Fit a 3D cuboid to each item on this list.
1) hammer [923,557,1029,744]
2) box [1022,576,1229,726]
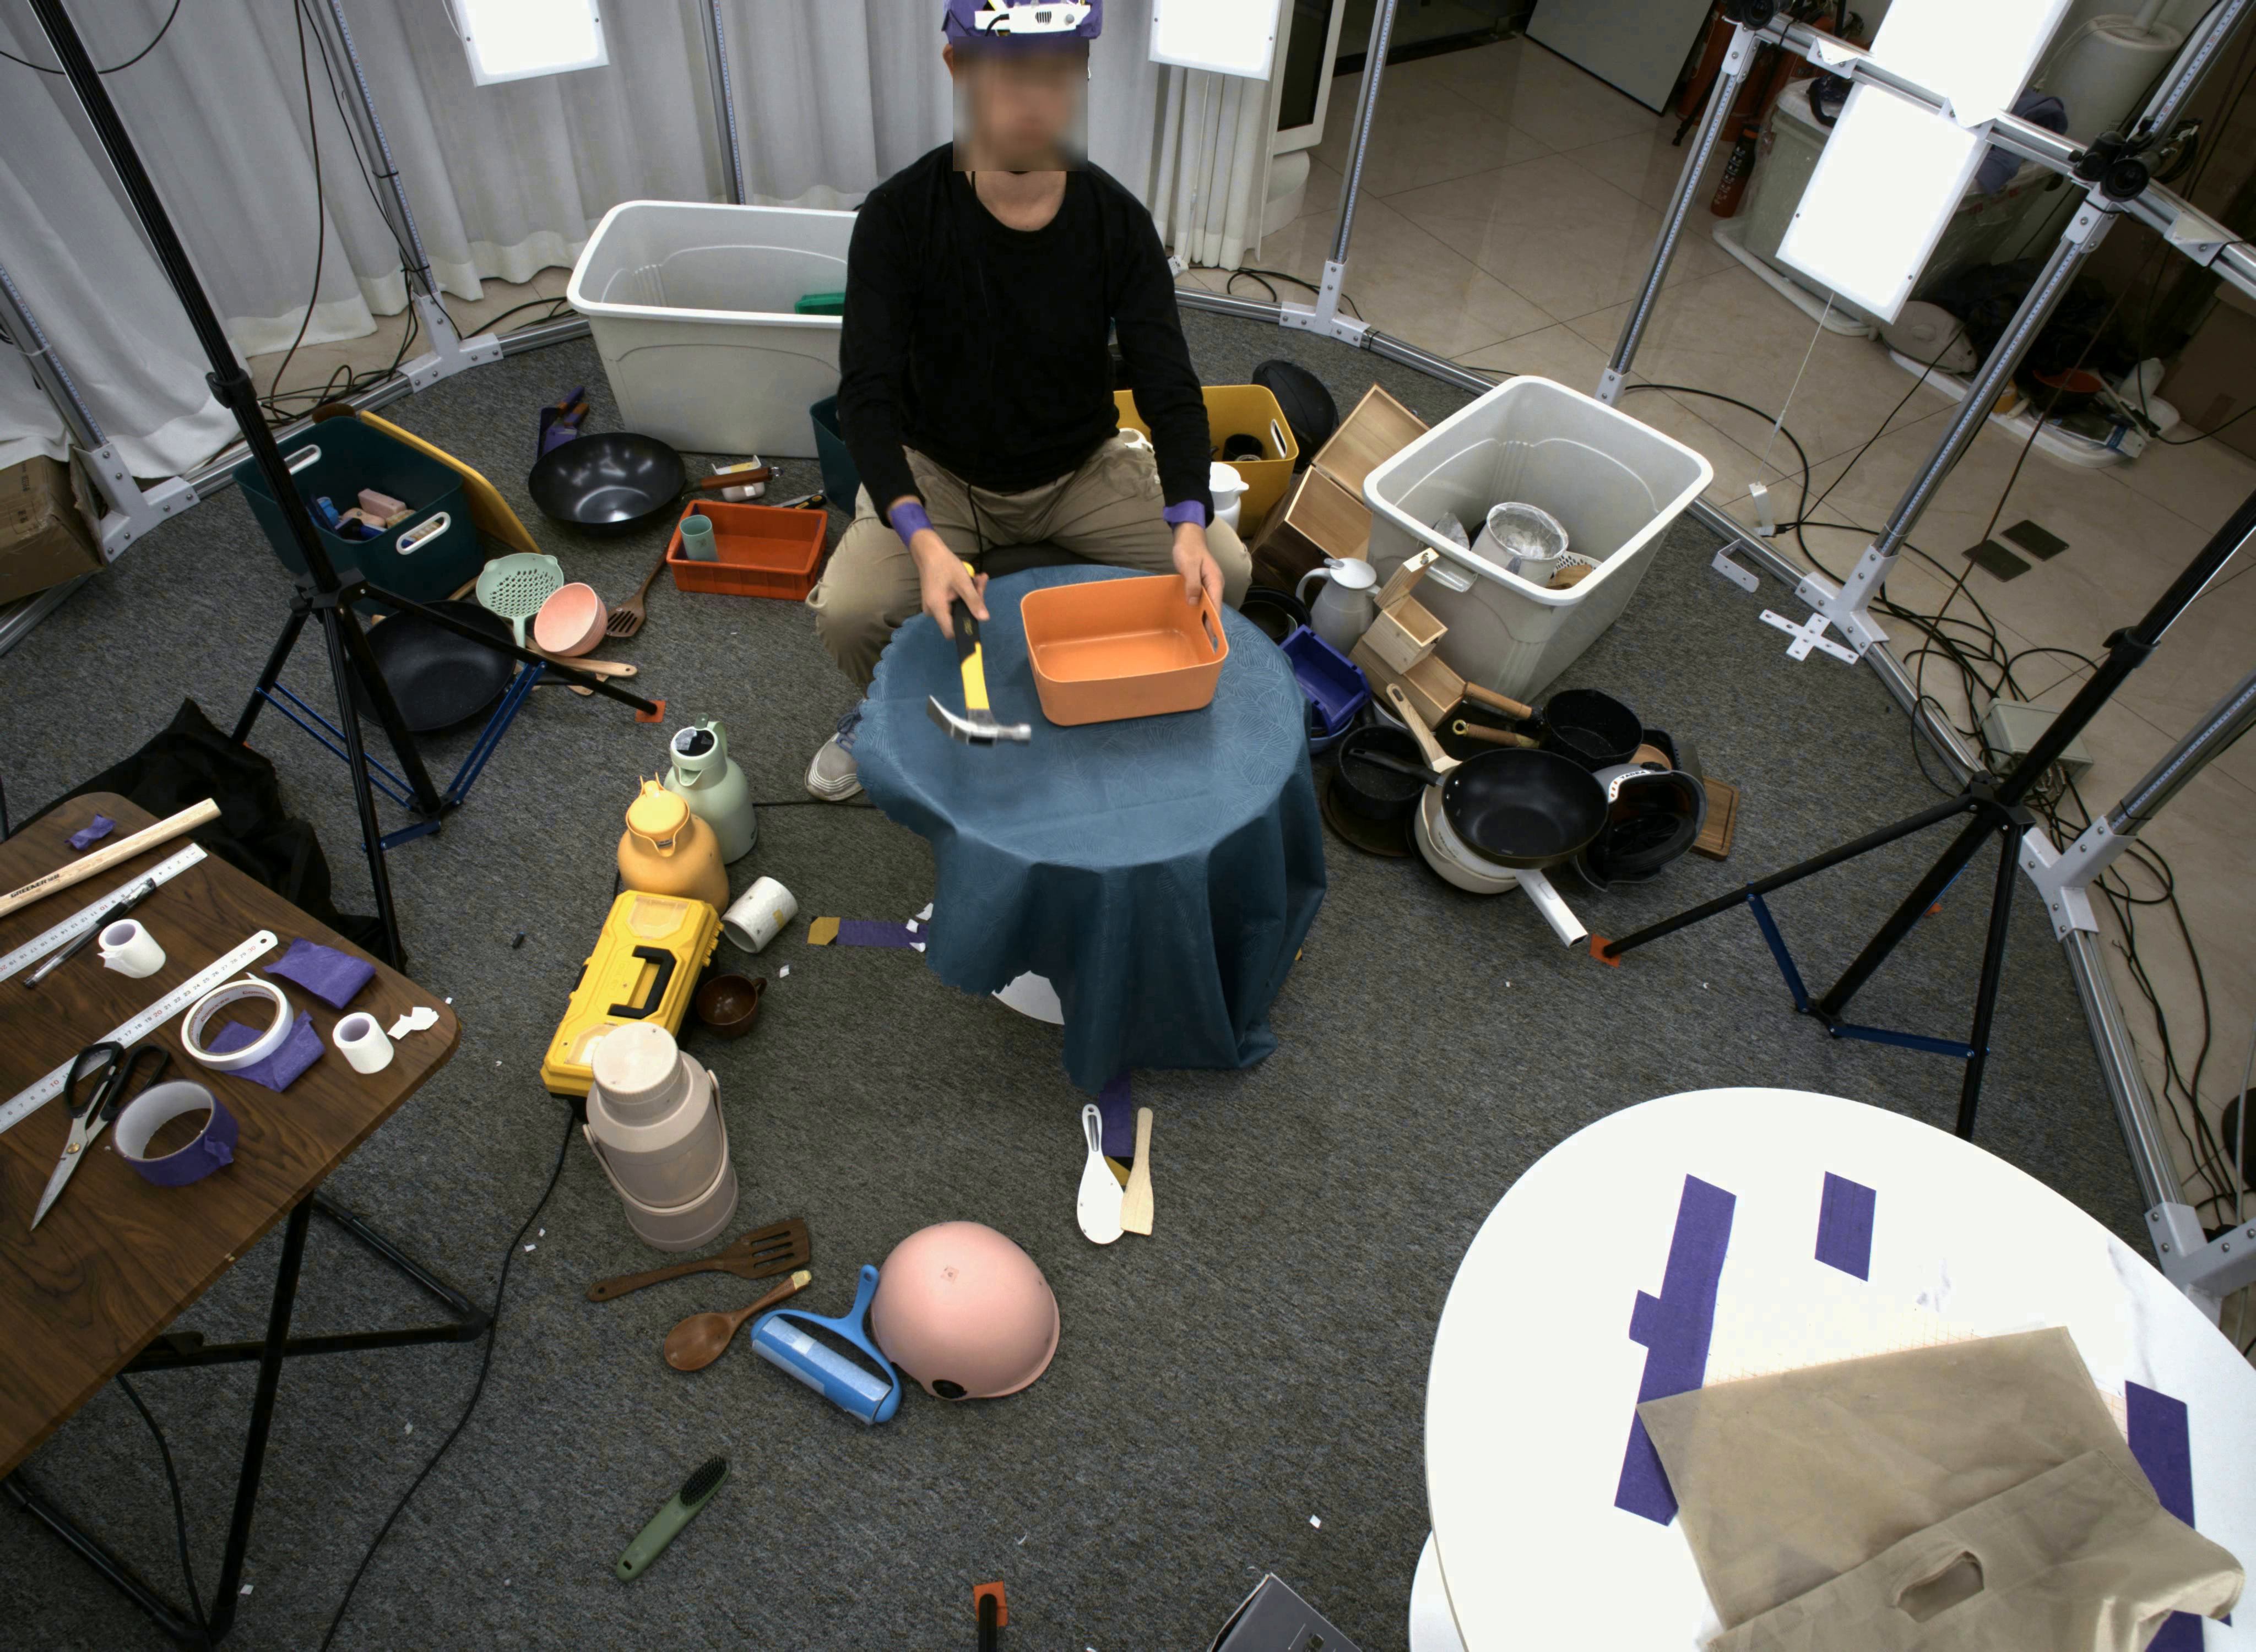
[{"bbox_3d":[-0.217,-0.247,1.747,0.131,0.031,0.347,3,49,-17],"label":"hammer"},{"bbox_3d":[-0.009,-0.246,1.816,0.273,0.100,0.204,-8,50,-11],"label":"box"}]
